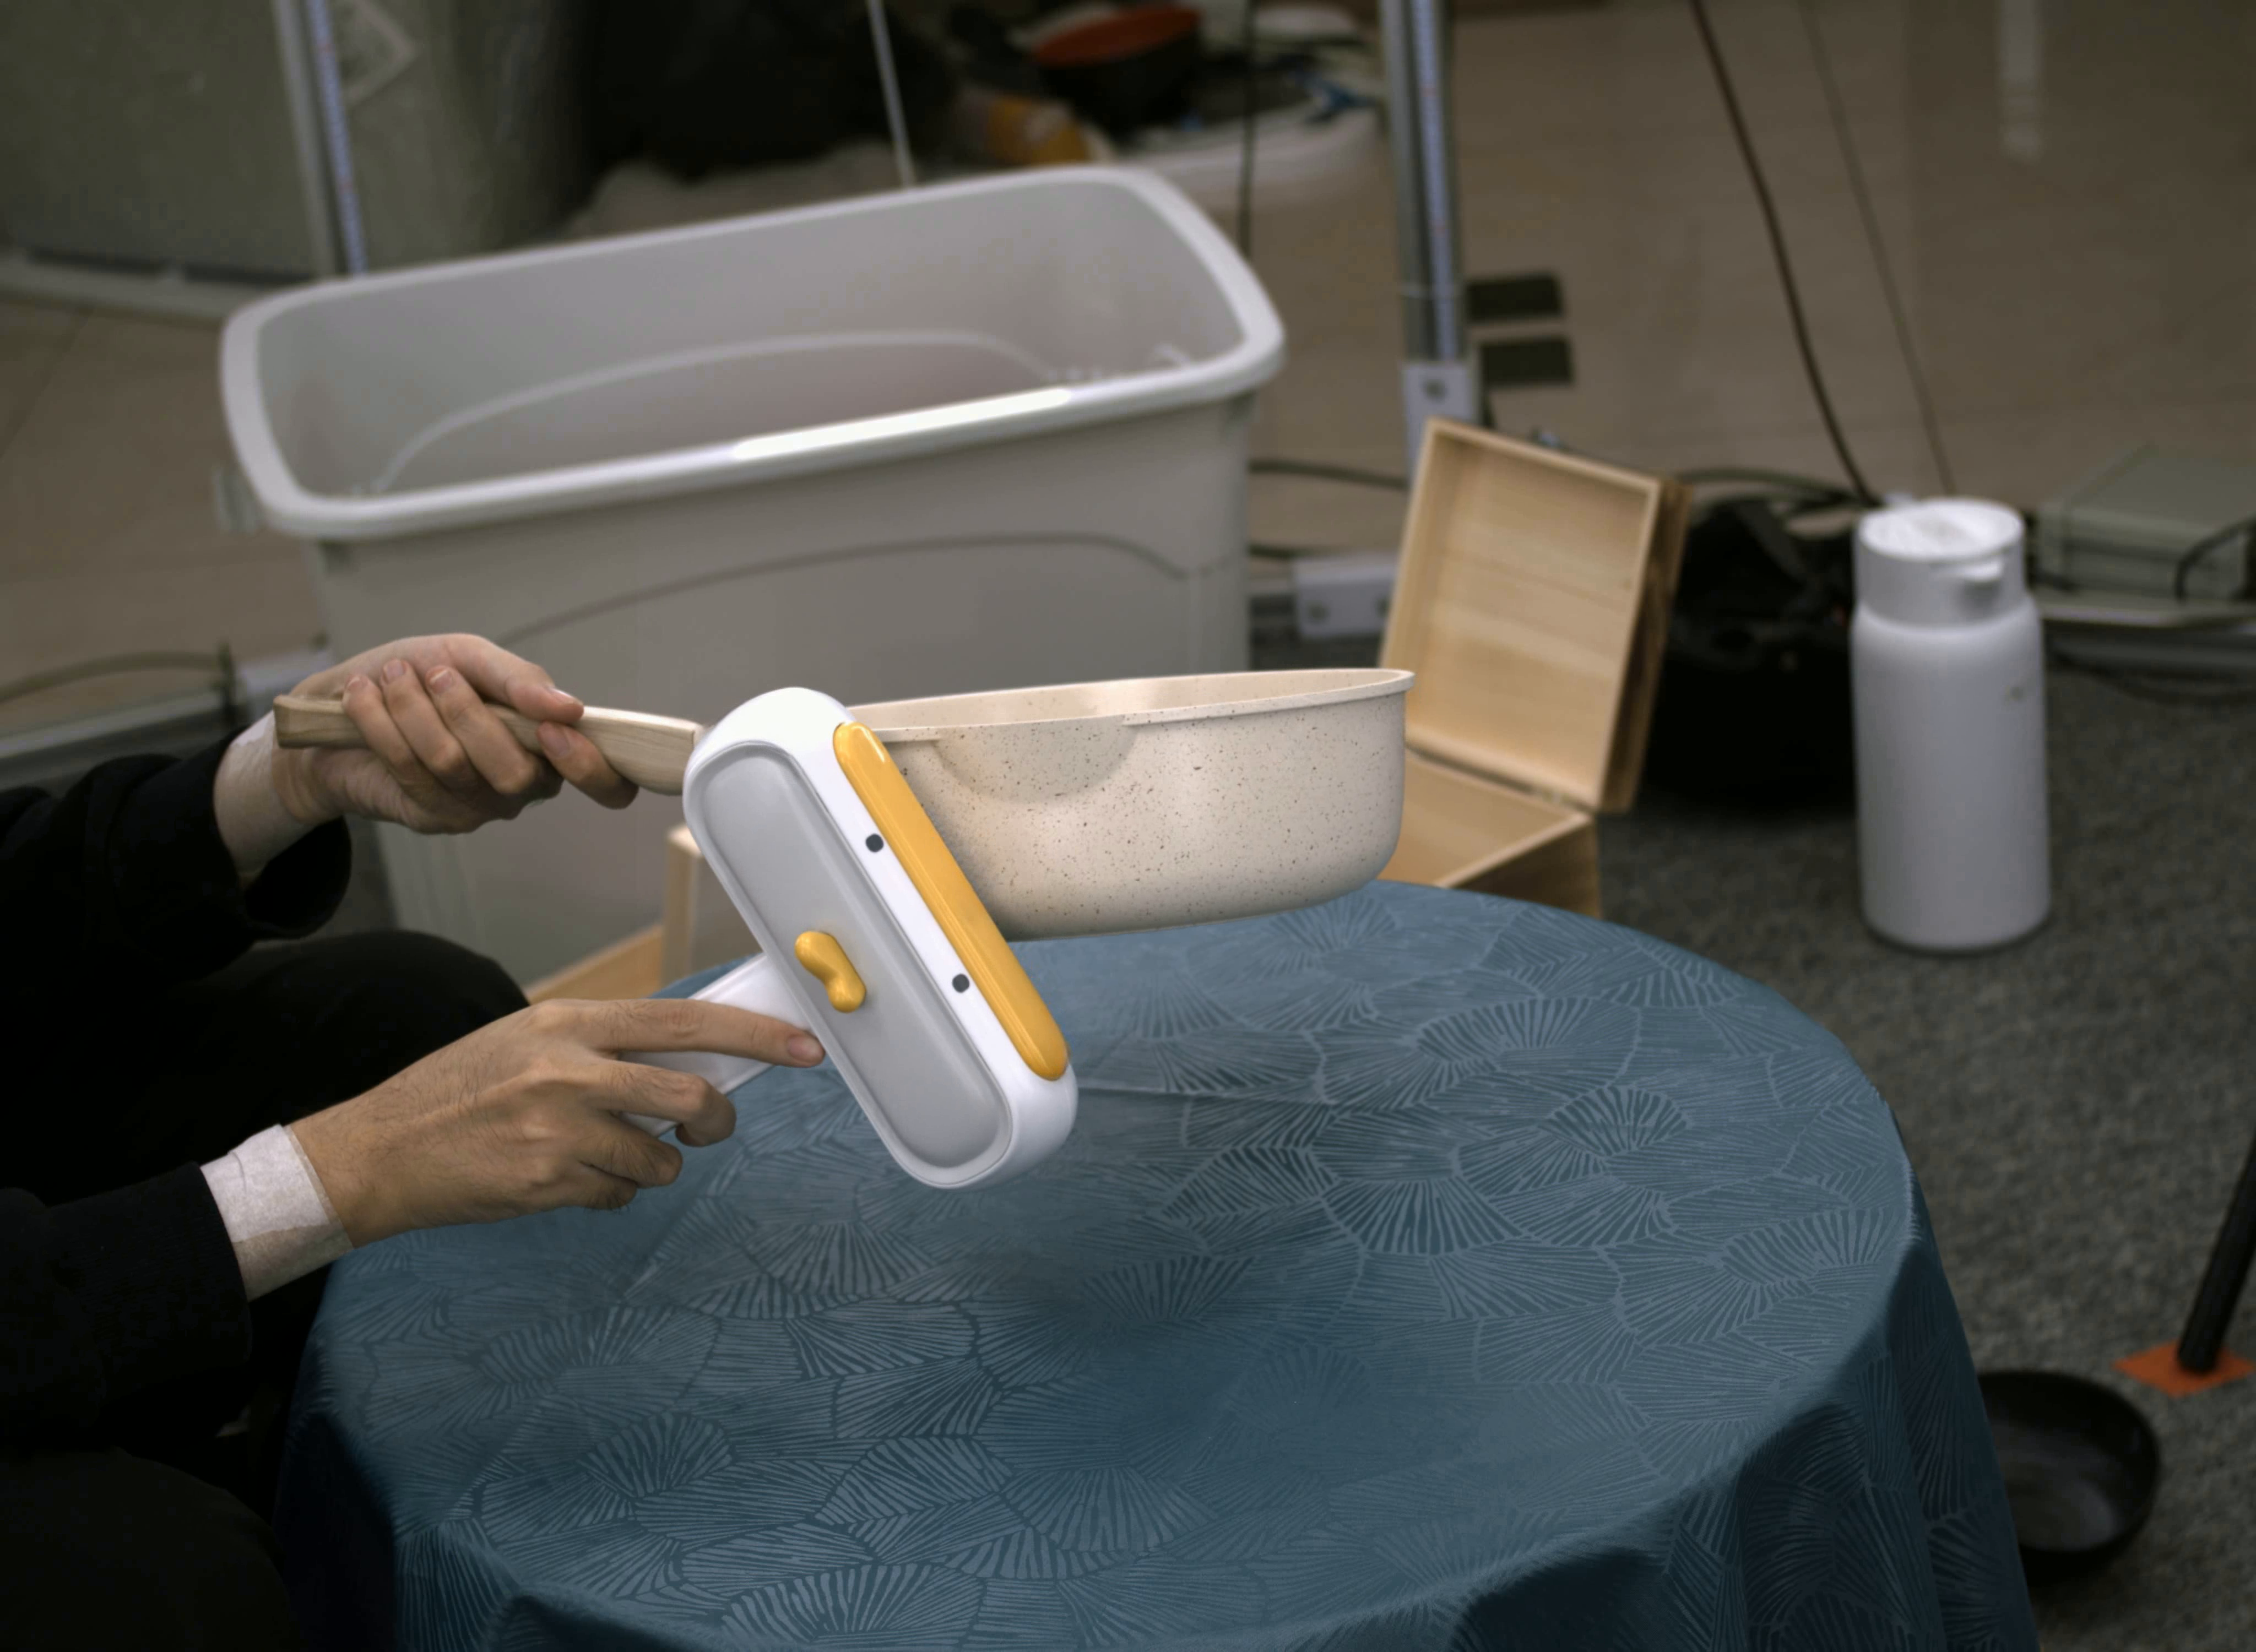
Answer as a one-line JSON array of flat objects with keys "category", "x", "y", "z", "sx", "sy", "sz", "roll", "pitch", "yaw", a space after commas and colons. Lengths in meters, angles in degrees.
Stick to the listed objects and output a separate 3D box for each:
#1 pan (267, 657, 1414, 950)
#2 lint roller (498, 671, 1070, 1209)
[{"category": "pan", "x": -0.107, "y": -0.009, "z": 2.127, "sx": 0.434, "sy": 0.102, "sz": 0.262, "roll": -4, "pitch": 7, "yaw": 7}, {"category": "lint roller", "x": -0.139, "y": 0.068, "z": 2.005, "sx": 0.193, "sy": 0.193, "sz": 0.073, "roll": -34, "pitch": 7, "yaw": 22}]
